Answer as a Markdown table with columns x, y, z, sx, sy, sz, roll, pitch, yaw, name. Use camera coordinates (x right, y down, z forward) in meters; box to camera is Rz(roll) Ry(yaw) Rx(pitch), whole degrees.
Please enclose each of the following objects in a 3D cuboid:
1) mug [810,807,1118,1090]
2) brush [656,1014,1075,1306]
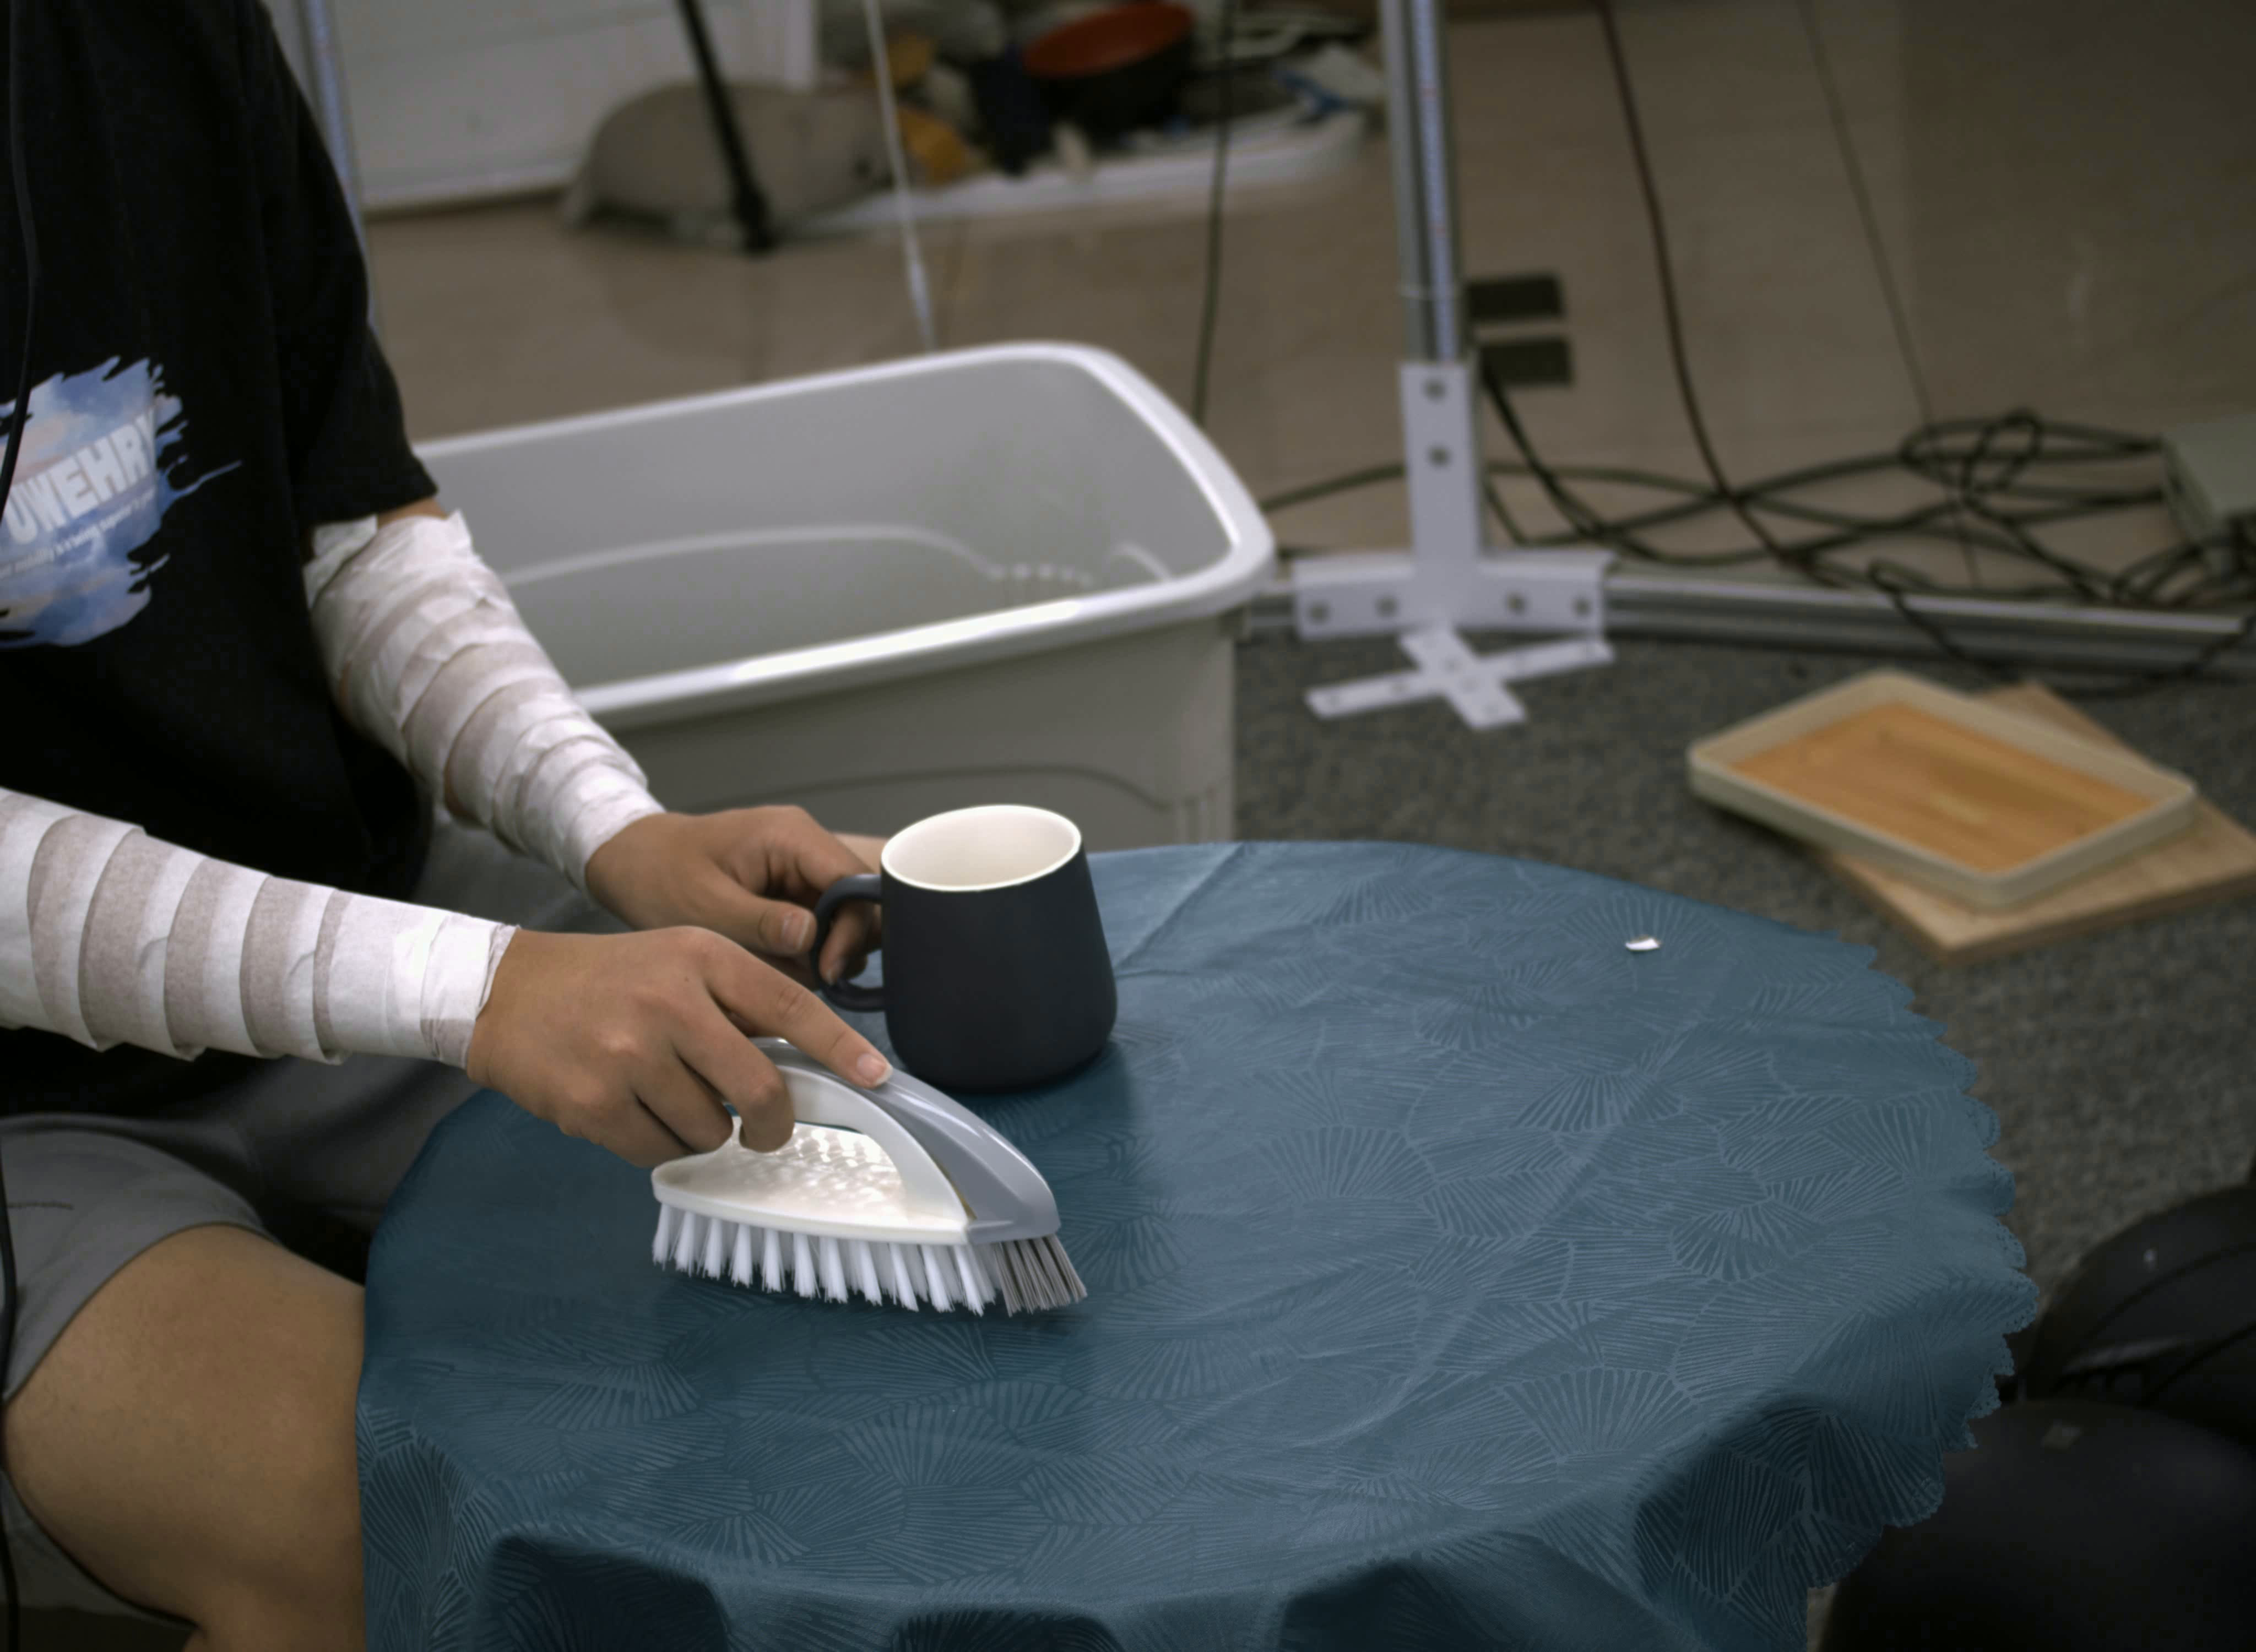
| x | y | z | sx | sy | sz | roll | pitch | yaw | name |
| --- | --- | --- | --- | --- | --- | --- | --- | --- | --- |
| -0.068 | 0.048 | 2.252 | 0.123 | 0.091 | 0.092 | 2 | 27 | 17 | mug |
| -0.097 | 0.119 | 2.081 | 0.174 | 0.096 | 0.061 | 14 | 35 | 30 | brush |
